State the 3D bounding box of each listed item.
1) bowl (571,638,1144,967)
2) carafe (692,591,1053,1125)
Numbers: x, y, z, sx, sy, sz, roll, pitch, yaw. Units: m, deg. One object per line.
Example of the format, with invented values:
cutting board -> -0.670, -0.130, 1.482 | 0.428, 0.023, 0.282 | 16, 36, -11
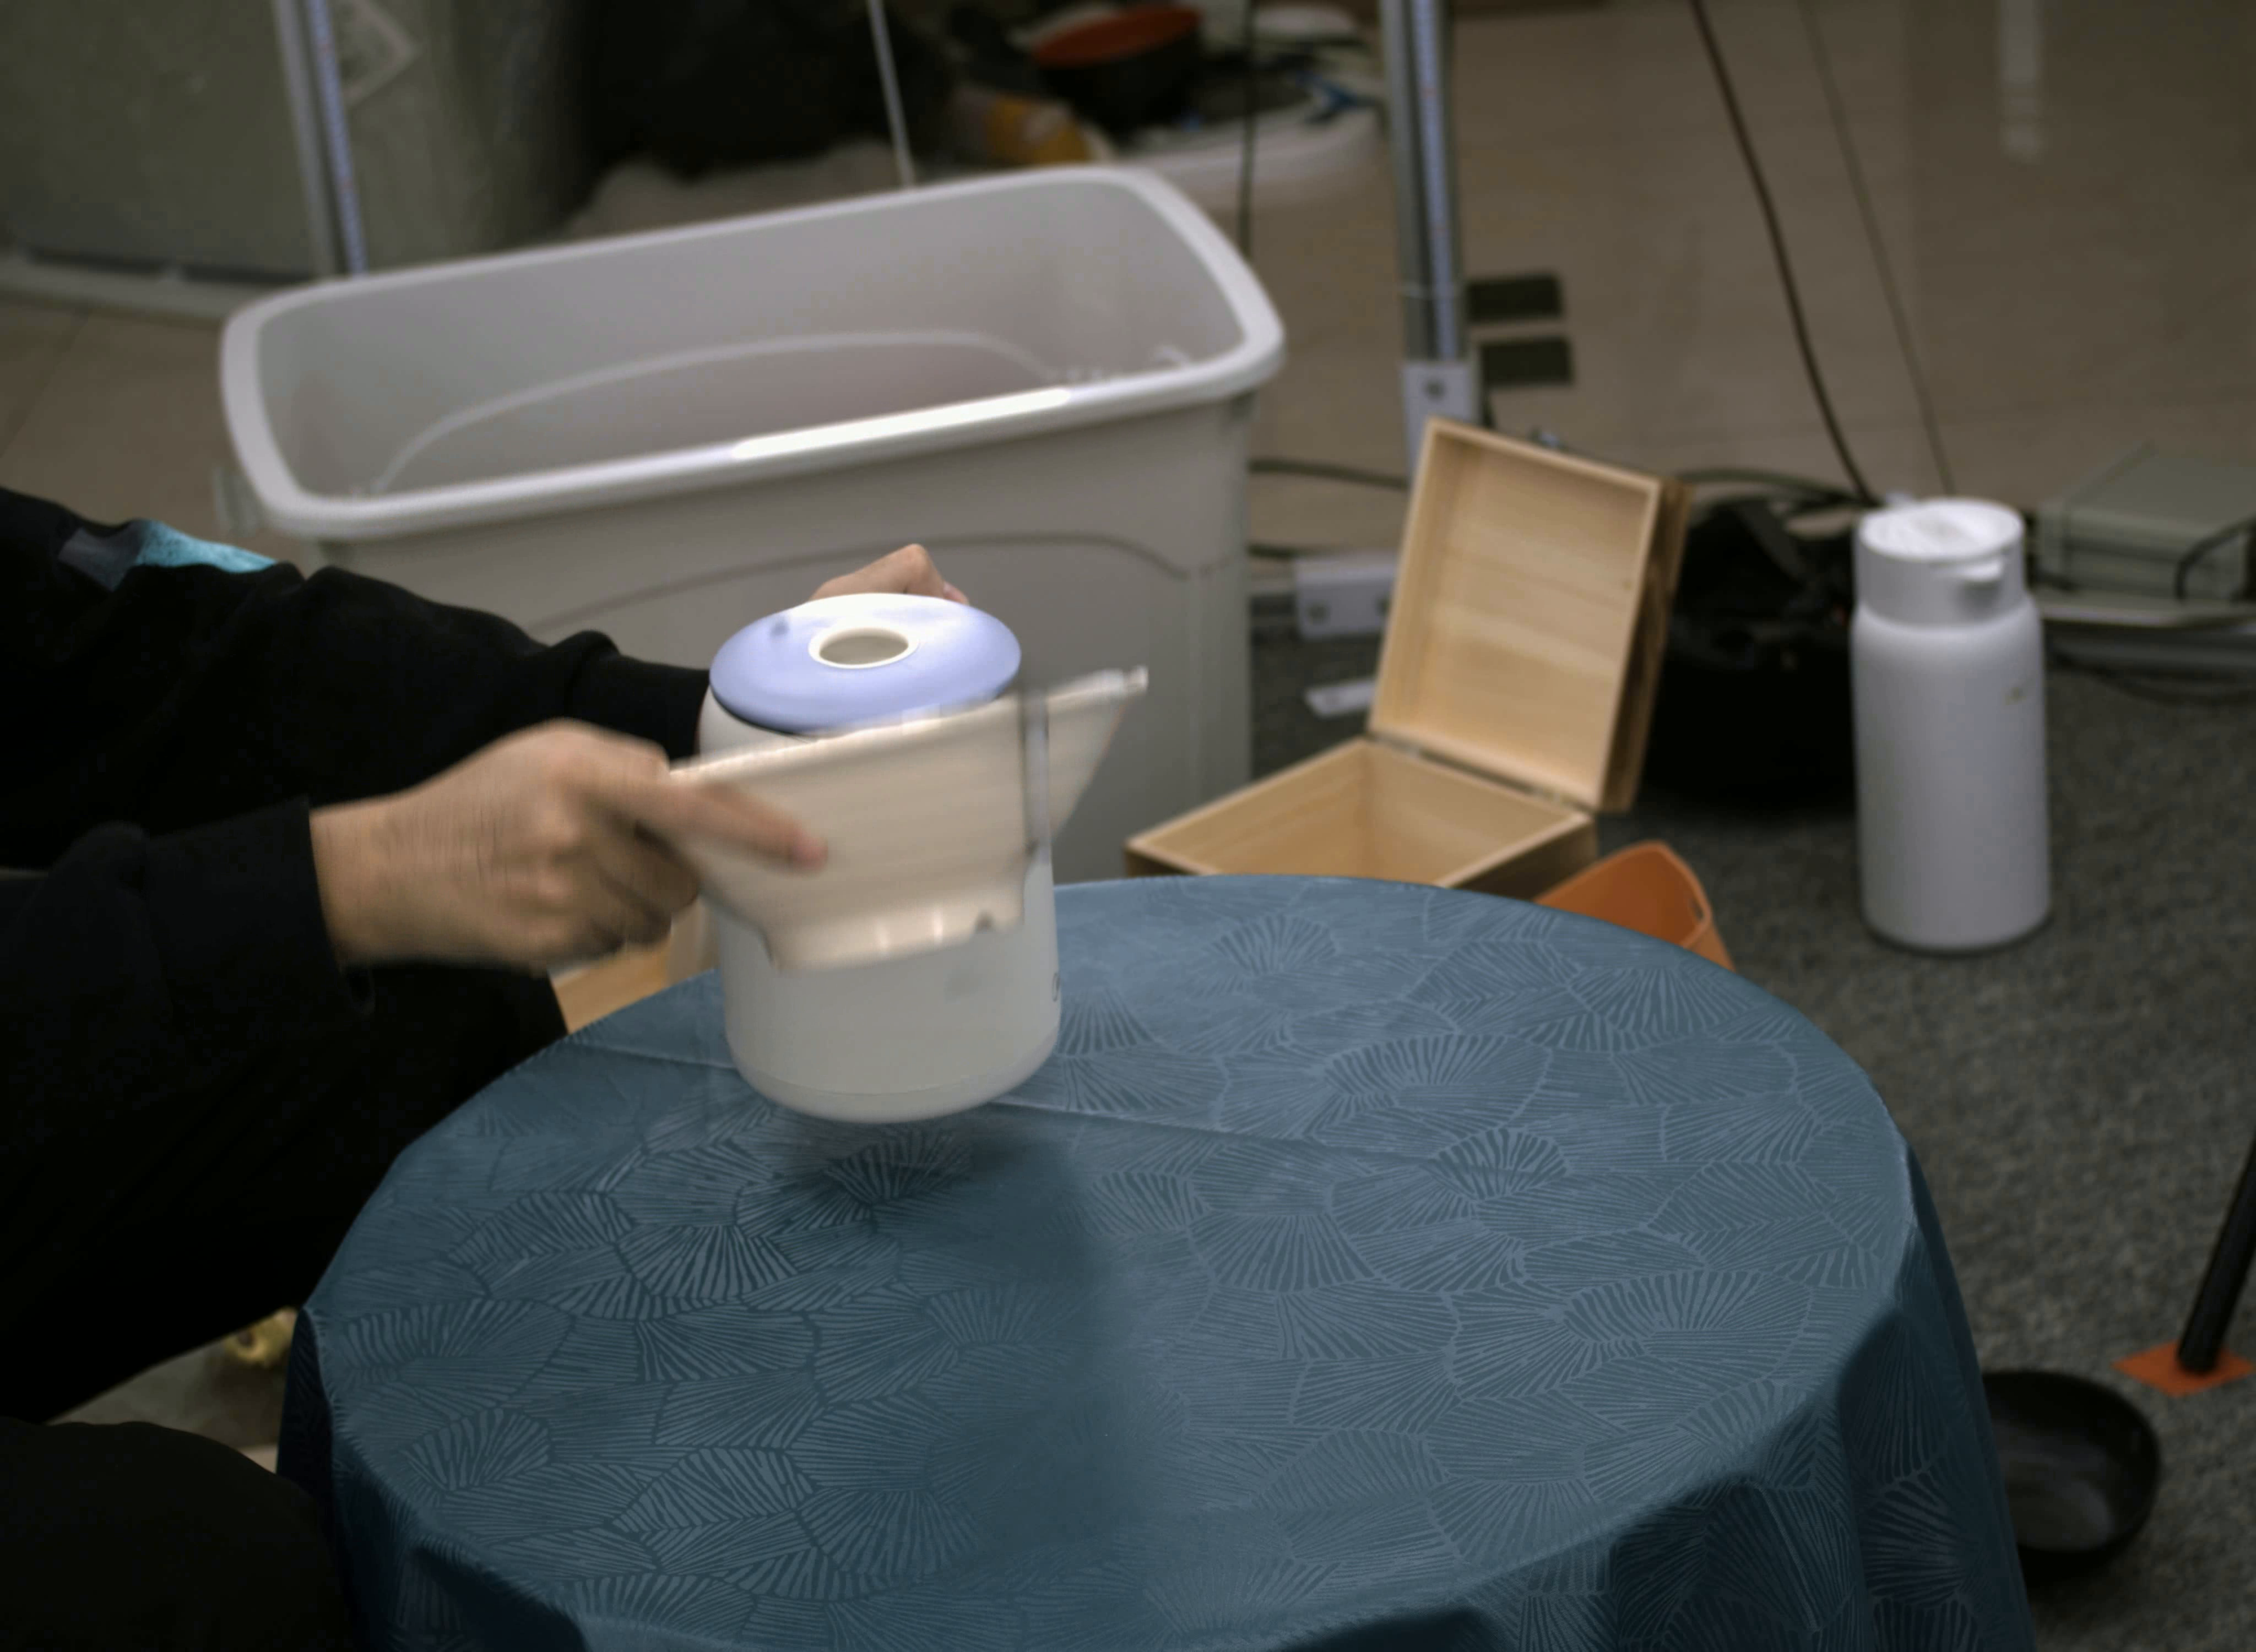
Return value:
bowl -> -0.083, -0.001, 1.938 | 0.204, 0.078, 0.204 | -16, -1, 0
carafe -> -0.097, 0.001, 2.184 | 0.132, 0.185, 0.188 | -1, 25, 1
